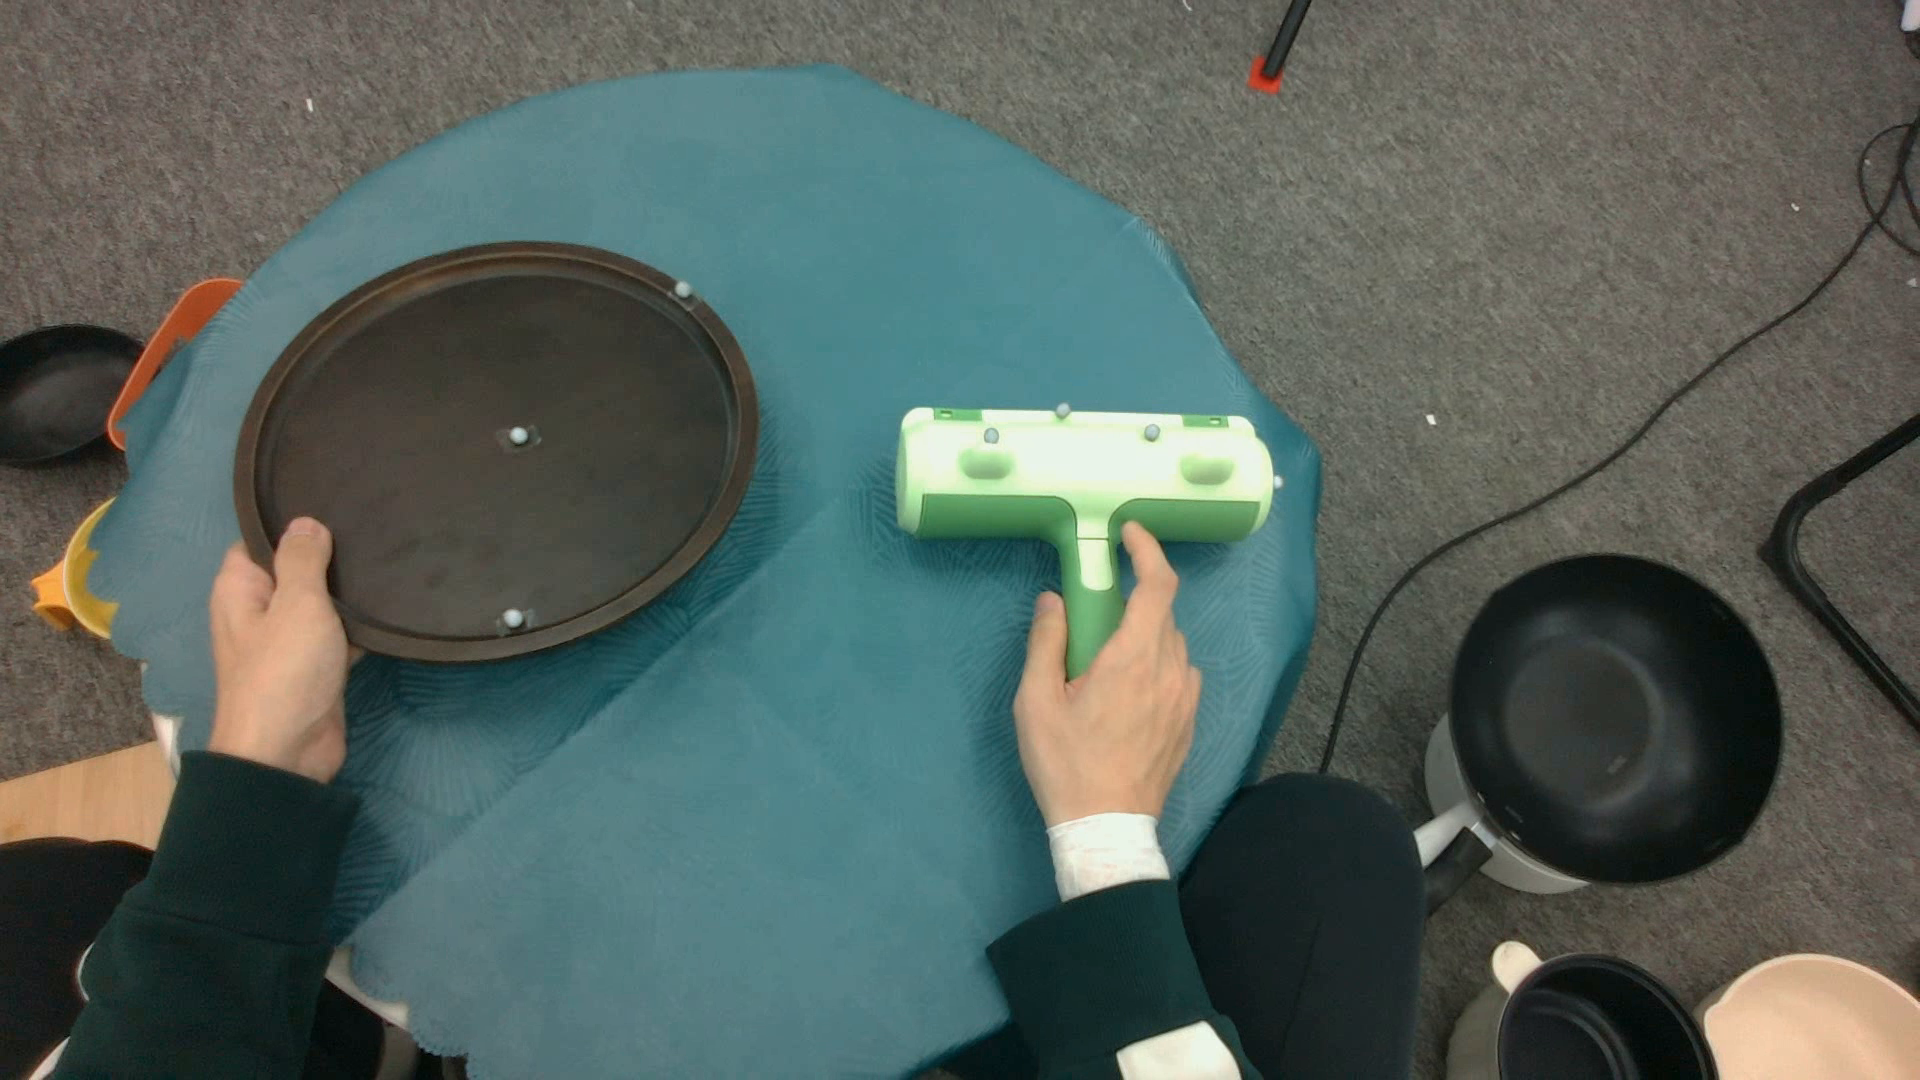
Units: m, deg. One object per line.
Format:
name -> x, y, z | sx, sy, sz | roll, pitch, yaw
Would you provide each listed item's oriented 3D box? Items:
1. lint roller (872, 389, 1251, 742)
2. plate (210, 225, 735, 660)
lint roller -> 0.061, 0.003, 0.690 | 0.199, 0.082, 0.184 | 0, 61, -12
plate -> -0.239, -0.055, 0.687 | 0.255, 0.029, 0.256 | 1, 60, -2
